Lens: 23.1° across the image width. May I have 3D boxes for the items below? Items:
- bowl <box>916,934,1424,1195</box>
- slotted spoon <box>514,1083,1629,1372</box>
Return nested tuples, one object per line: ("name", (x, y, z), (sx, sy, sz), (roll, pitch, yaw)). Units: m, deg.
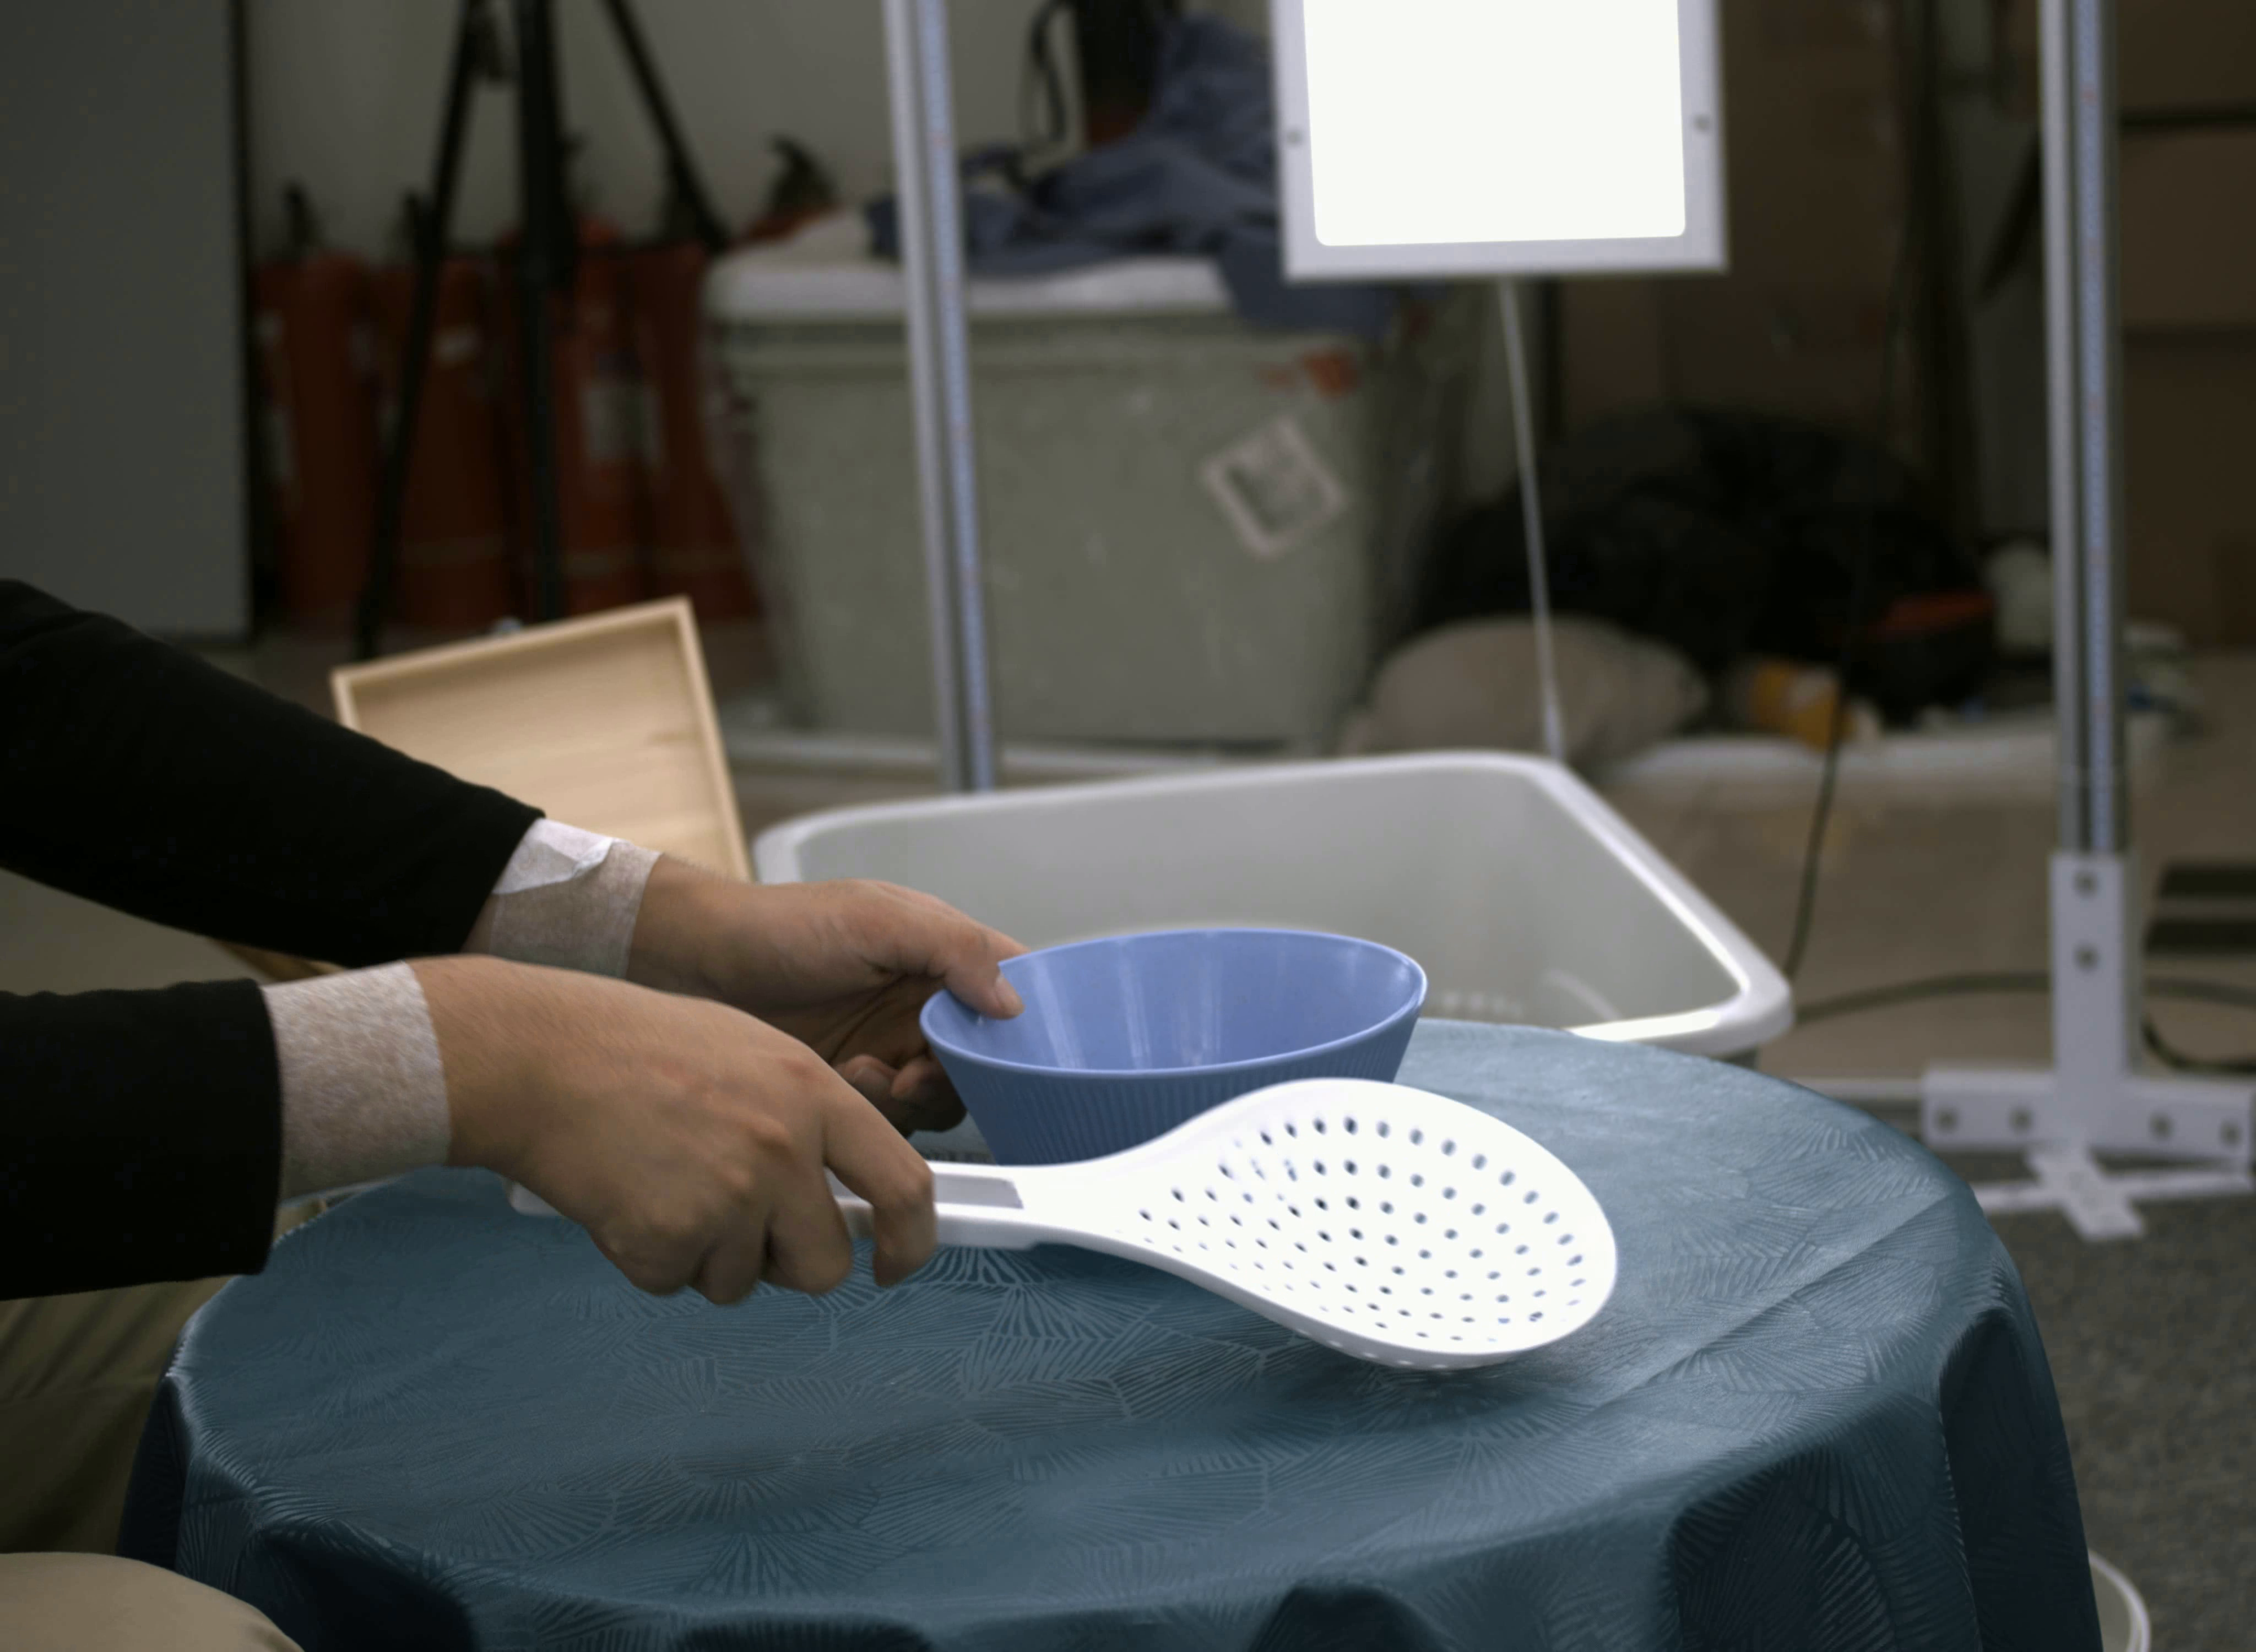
("bowl", (0.017, 0.089, 1.895), (0.175, 0.070, 0.176), (-6, 13, 0))
("slotted spoon", (-0.015, 0.120, 1.683), (0.344, 0.046, 0.136), (8, 32, -17))
